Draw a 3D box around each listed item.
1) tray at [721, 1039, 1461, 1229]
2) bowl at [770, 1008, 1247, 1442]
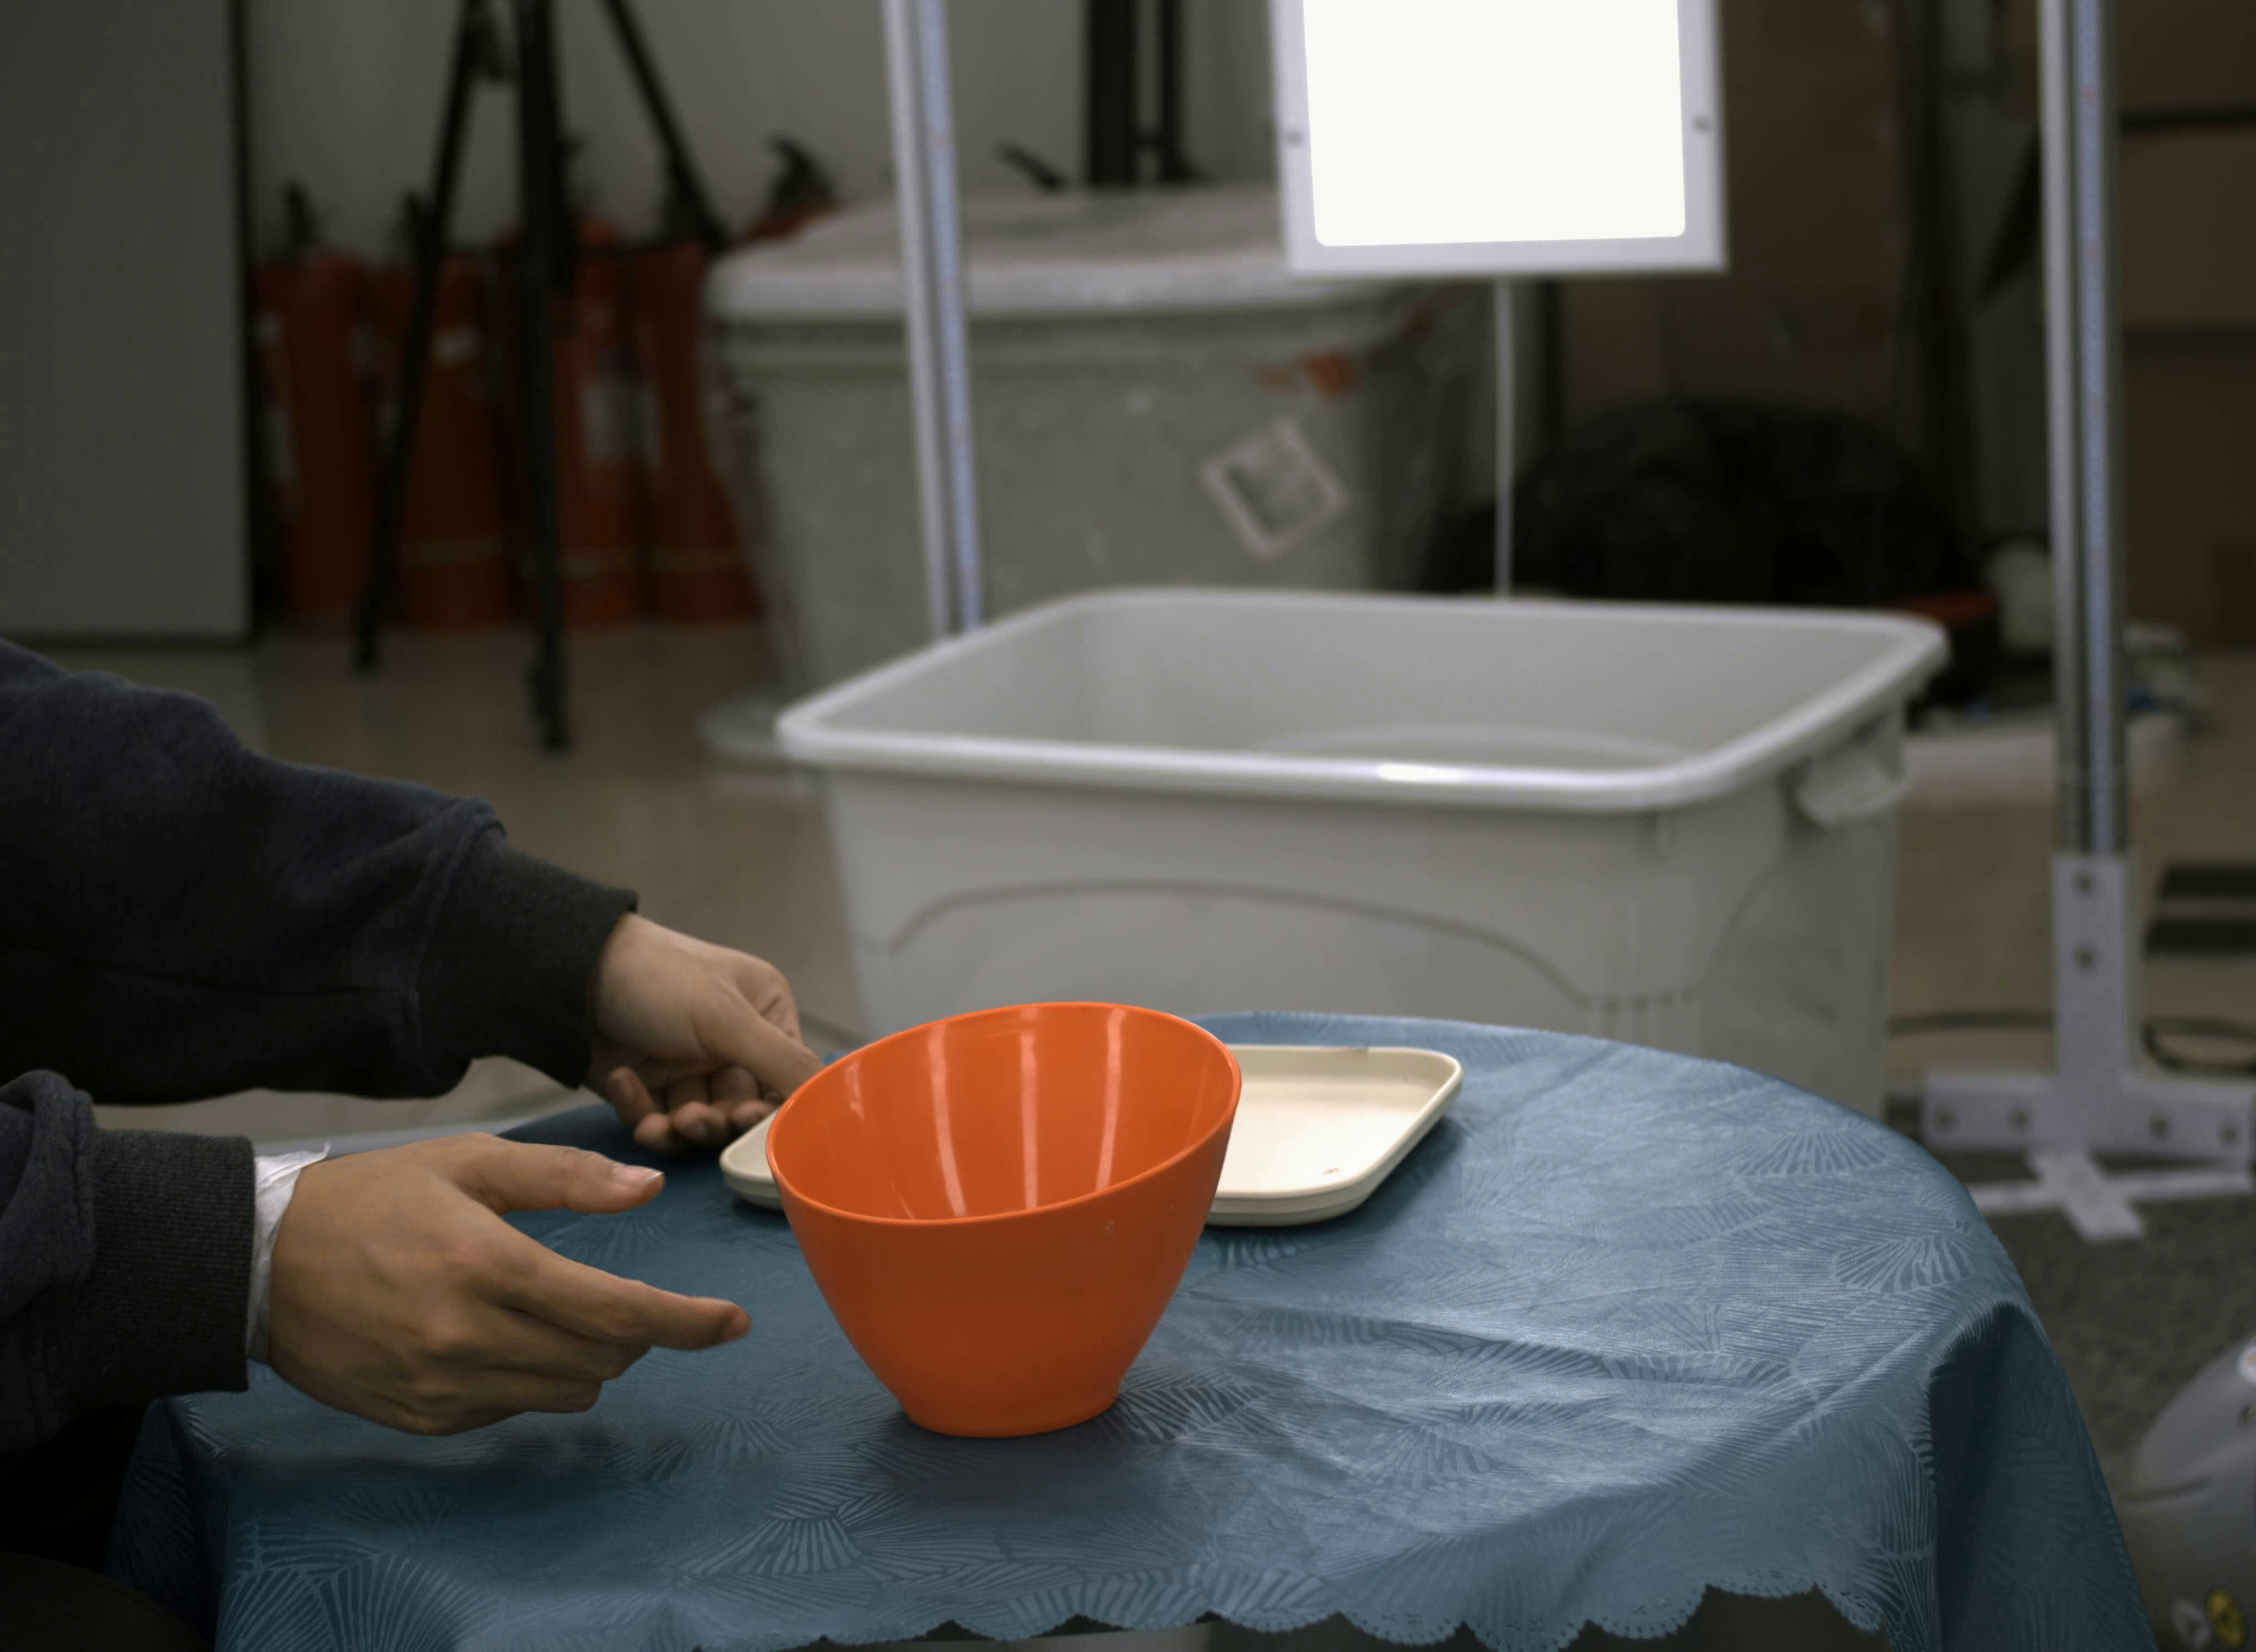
[{"bbox_3d":[-0.011,0.108,1.939,0.243,0.017,0.168,0,15,21],"label":"tray"},{"bbox_3d":[-0.034,0.126,1.697,0.147,0.105,0.148,-4,14,0],"label":"bowl"}]
